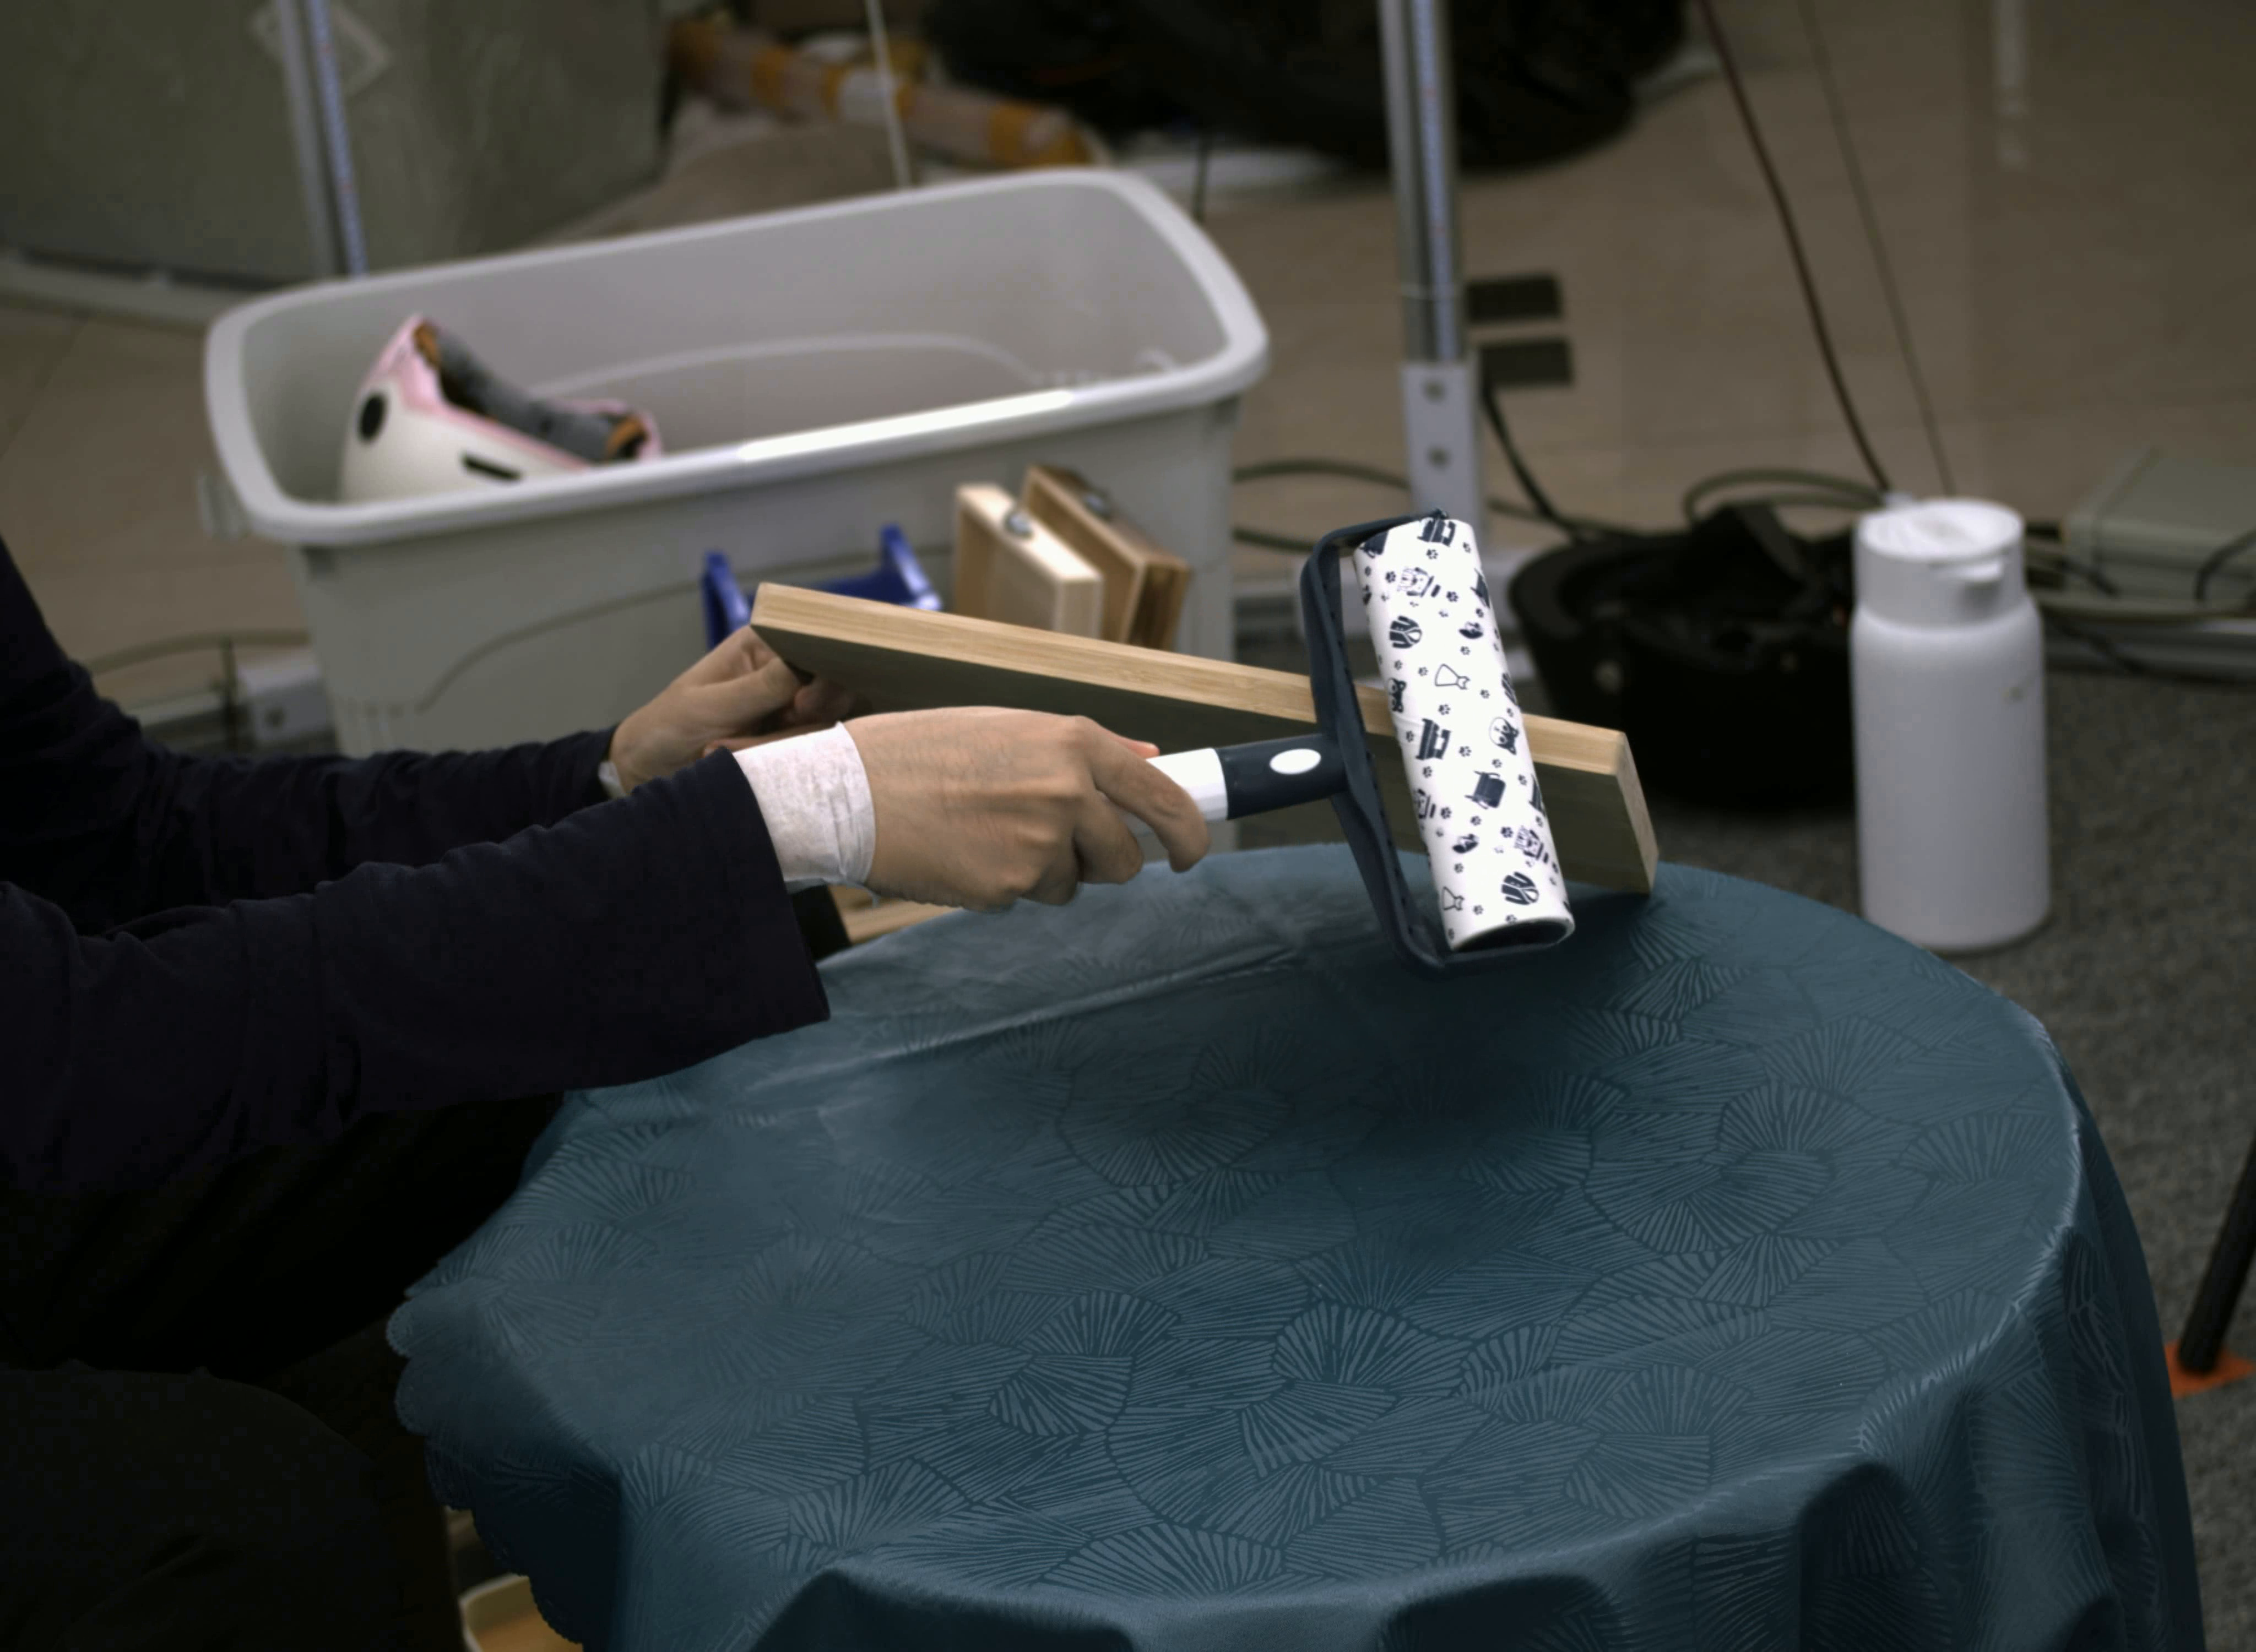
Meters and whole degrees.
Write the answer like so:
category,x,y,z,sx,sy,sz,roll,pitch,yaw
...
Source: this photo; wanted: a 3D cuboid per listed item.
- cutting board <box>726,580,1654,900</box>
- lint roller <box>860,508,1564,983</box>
category,x,y,z,sx,sy,sz,roll,pitch,yaw
cutting board,0.031,-0.033,2.252,0.347,0.023,0.252,10,-10,10
lint roller,0.024,-0.012,2.074,0.246,0.175,0.051,-12,-14,-8
